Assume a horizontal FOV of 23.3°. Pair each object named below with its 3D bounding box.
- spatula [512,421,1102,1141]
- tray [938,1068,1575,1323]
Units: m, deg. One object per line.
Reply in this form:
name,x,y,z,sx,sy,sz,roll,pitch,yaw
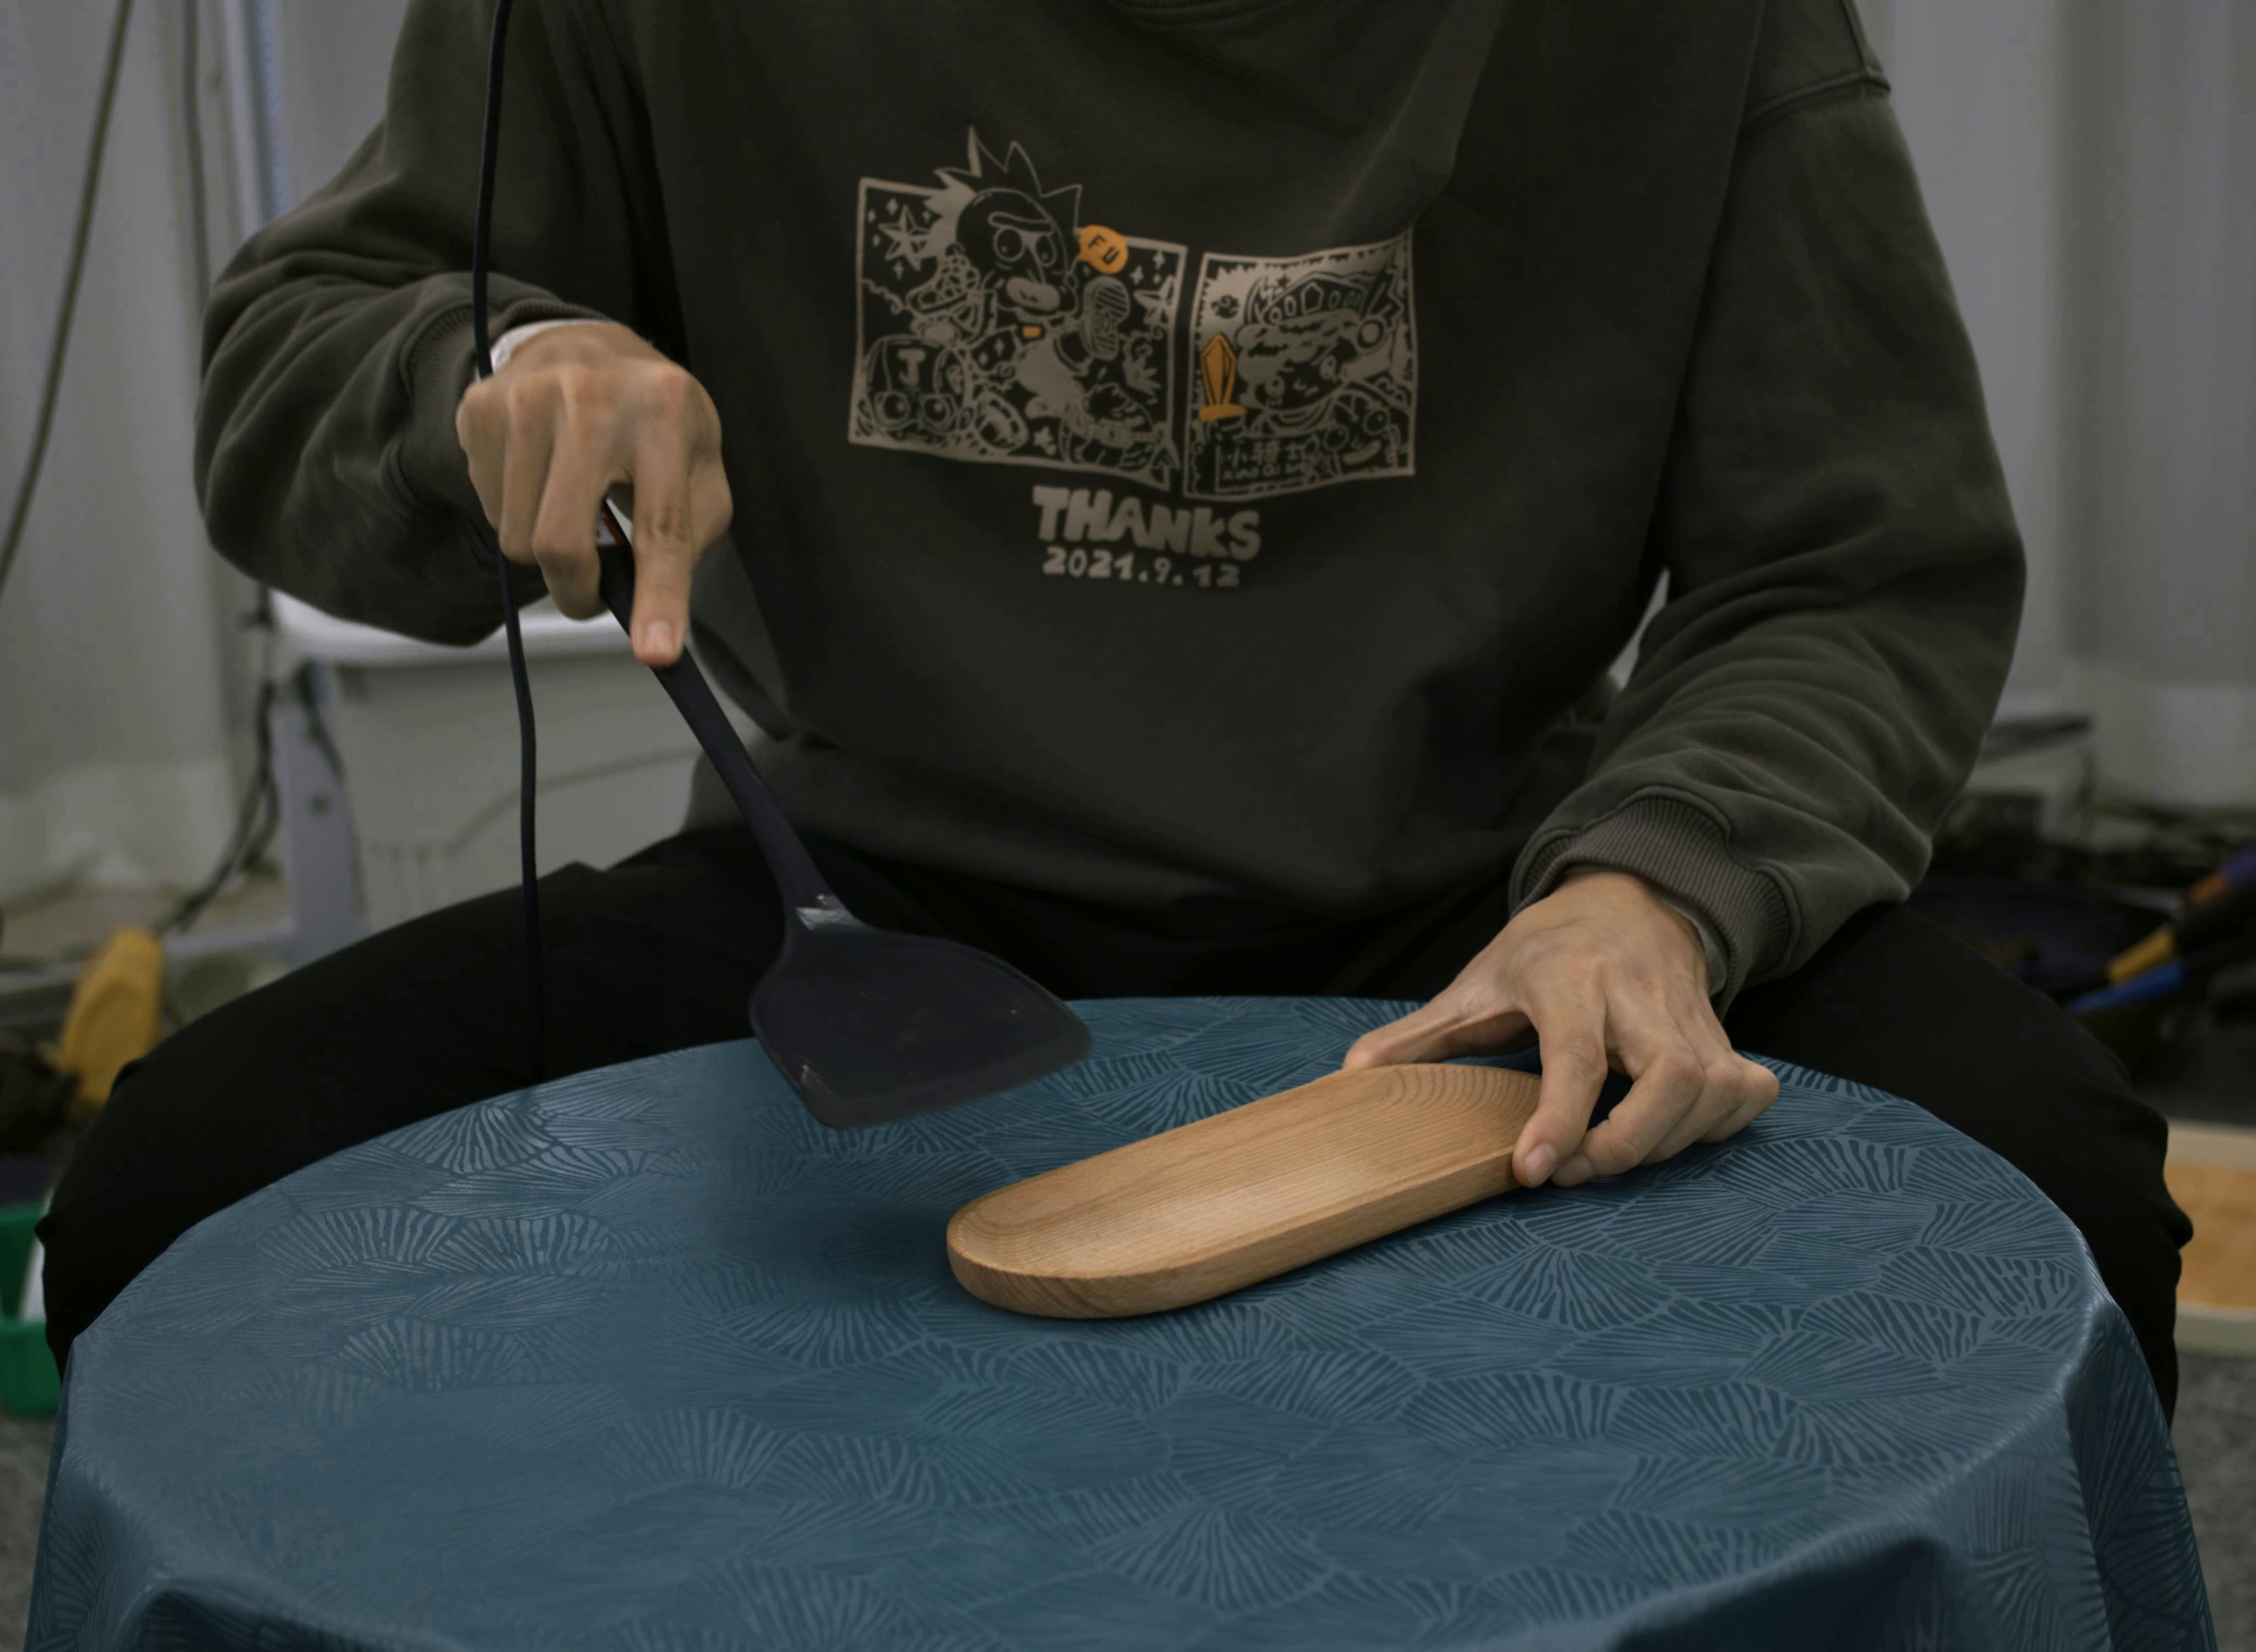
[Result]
spatula,-0.123,-0.023,1.747,0.099,0.040,0.330,-14,56,-28
tray,0.042,0.113,1.689,0.231,0.020,0.102,-18,19,-38
